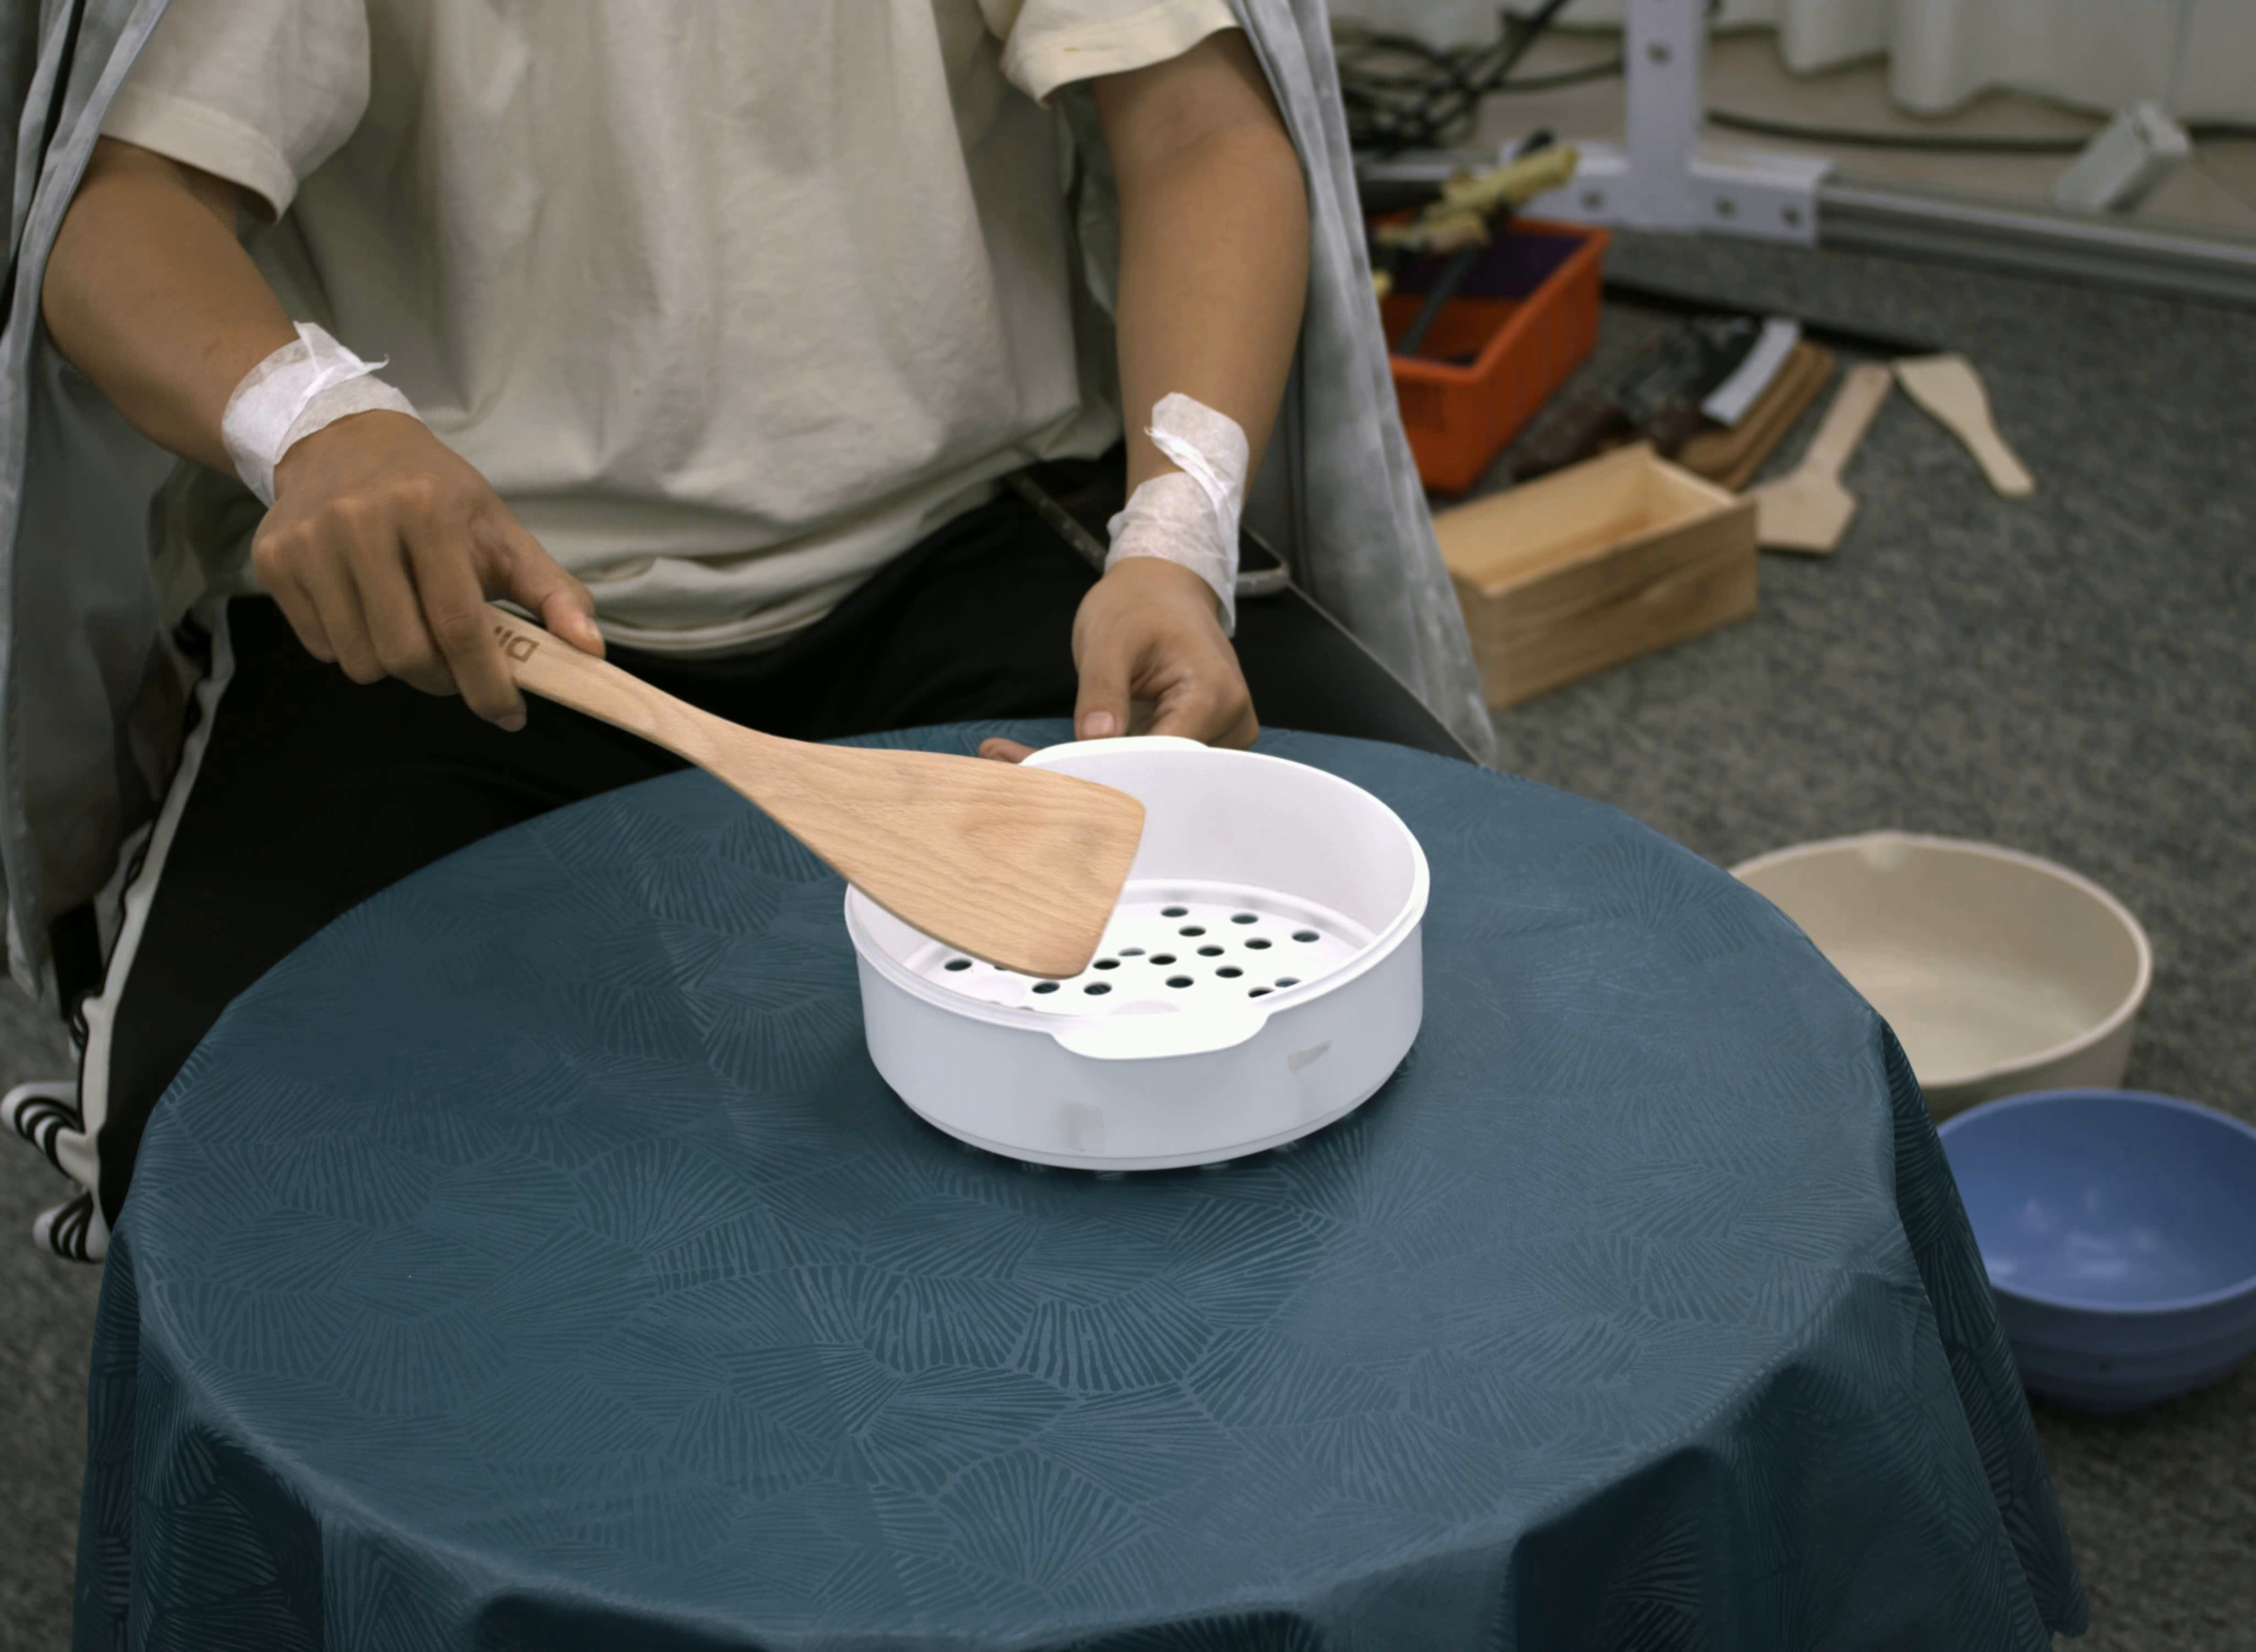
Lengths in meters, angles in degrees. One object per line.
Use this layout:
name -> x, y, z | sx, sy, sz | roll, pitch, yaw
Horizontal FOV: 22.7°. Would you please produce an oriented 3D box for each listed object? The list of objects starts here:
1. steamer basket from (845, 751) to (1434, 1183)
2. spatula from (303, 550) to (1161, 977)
steamer basket -> 0.005, 0.050, 1.929 | 0.201, 0.068, 0.234 | -3, 26, -3
spatula -> -0.137, -0.032, 1.895 | 0.326, 0.016, 0.081 | 22, 55, 16
